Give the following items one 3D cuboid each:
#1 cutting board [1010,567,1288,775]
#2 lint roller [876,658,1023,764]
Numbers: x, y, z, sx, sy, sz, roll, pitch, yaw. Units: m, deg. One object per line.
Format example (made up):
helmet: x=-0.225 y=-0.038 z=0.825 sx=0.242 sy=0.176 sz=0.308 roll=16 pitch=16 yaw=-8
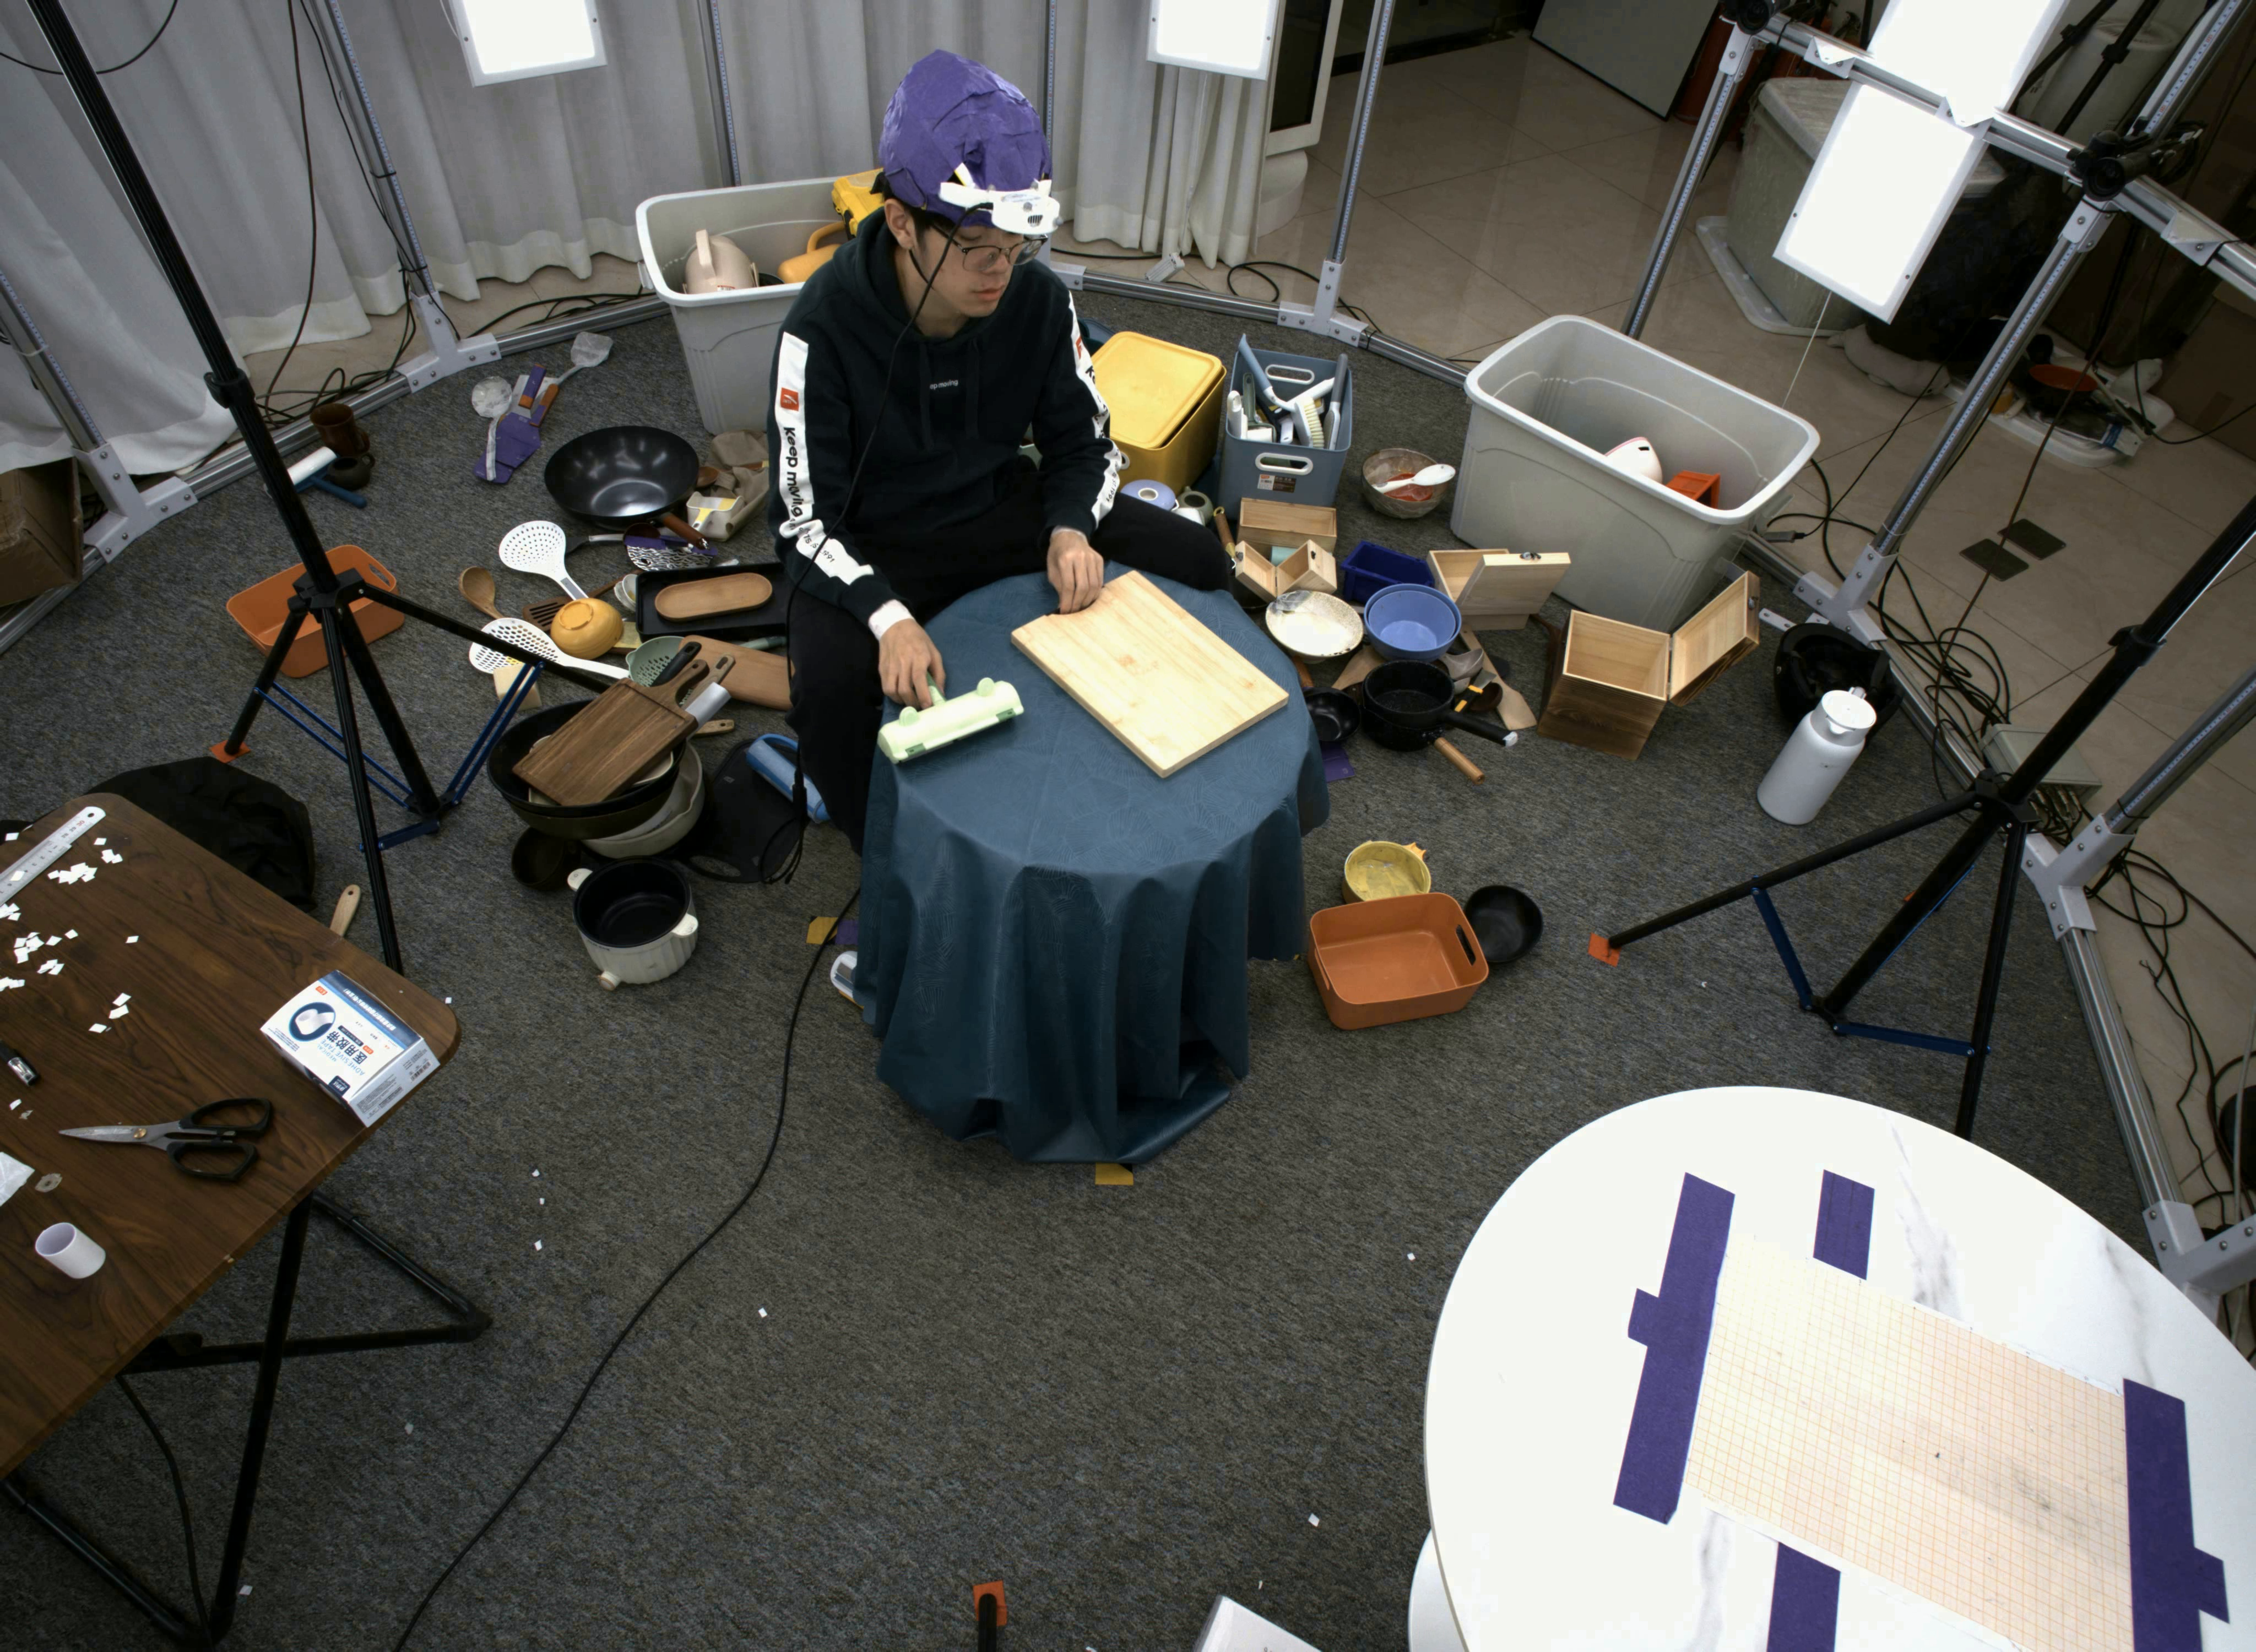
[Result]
cutting board: x=0.027 y=-0.232 z=1.861 sx=0.252 sy=0.023 sz=0.354 roll=-31 pitch=58 yaw=-27
lint roller: x=-0.269 y=-0.185 z=1.761 sx=0.199 sy=0.080 sz=0.187 roll=-24 pitch=60 yaw=-22
